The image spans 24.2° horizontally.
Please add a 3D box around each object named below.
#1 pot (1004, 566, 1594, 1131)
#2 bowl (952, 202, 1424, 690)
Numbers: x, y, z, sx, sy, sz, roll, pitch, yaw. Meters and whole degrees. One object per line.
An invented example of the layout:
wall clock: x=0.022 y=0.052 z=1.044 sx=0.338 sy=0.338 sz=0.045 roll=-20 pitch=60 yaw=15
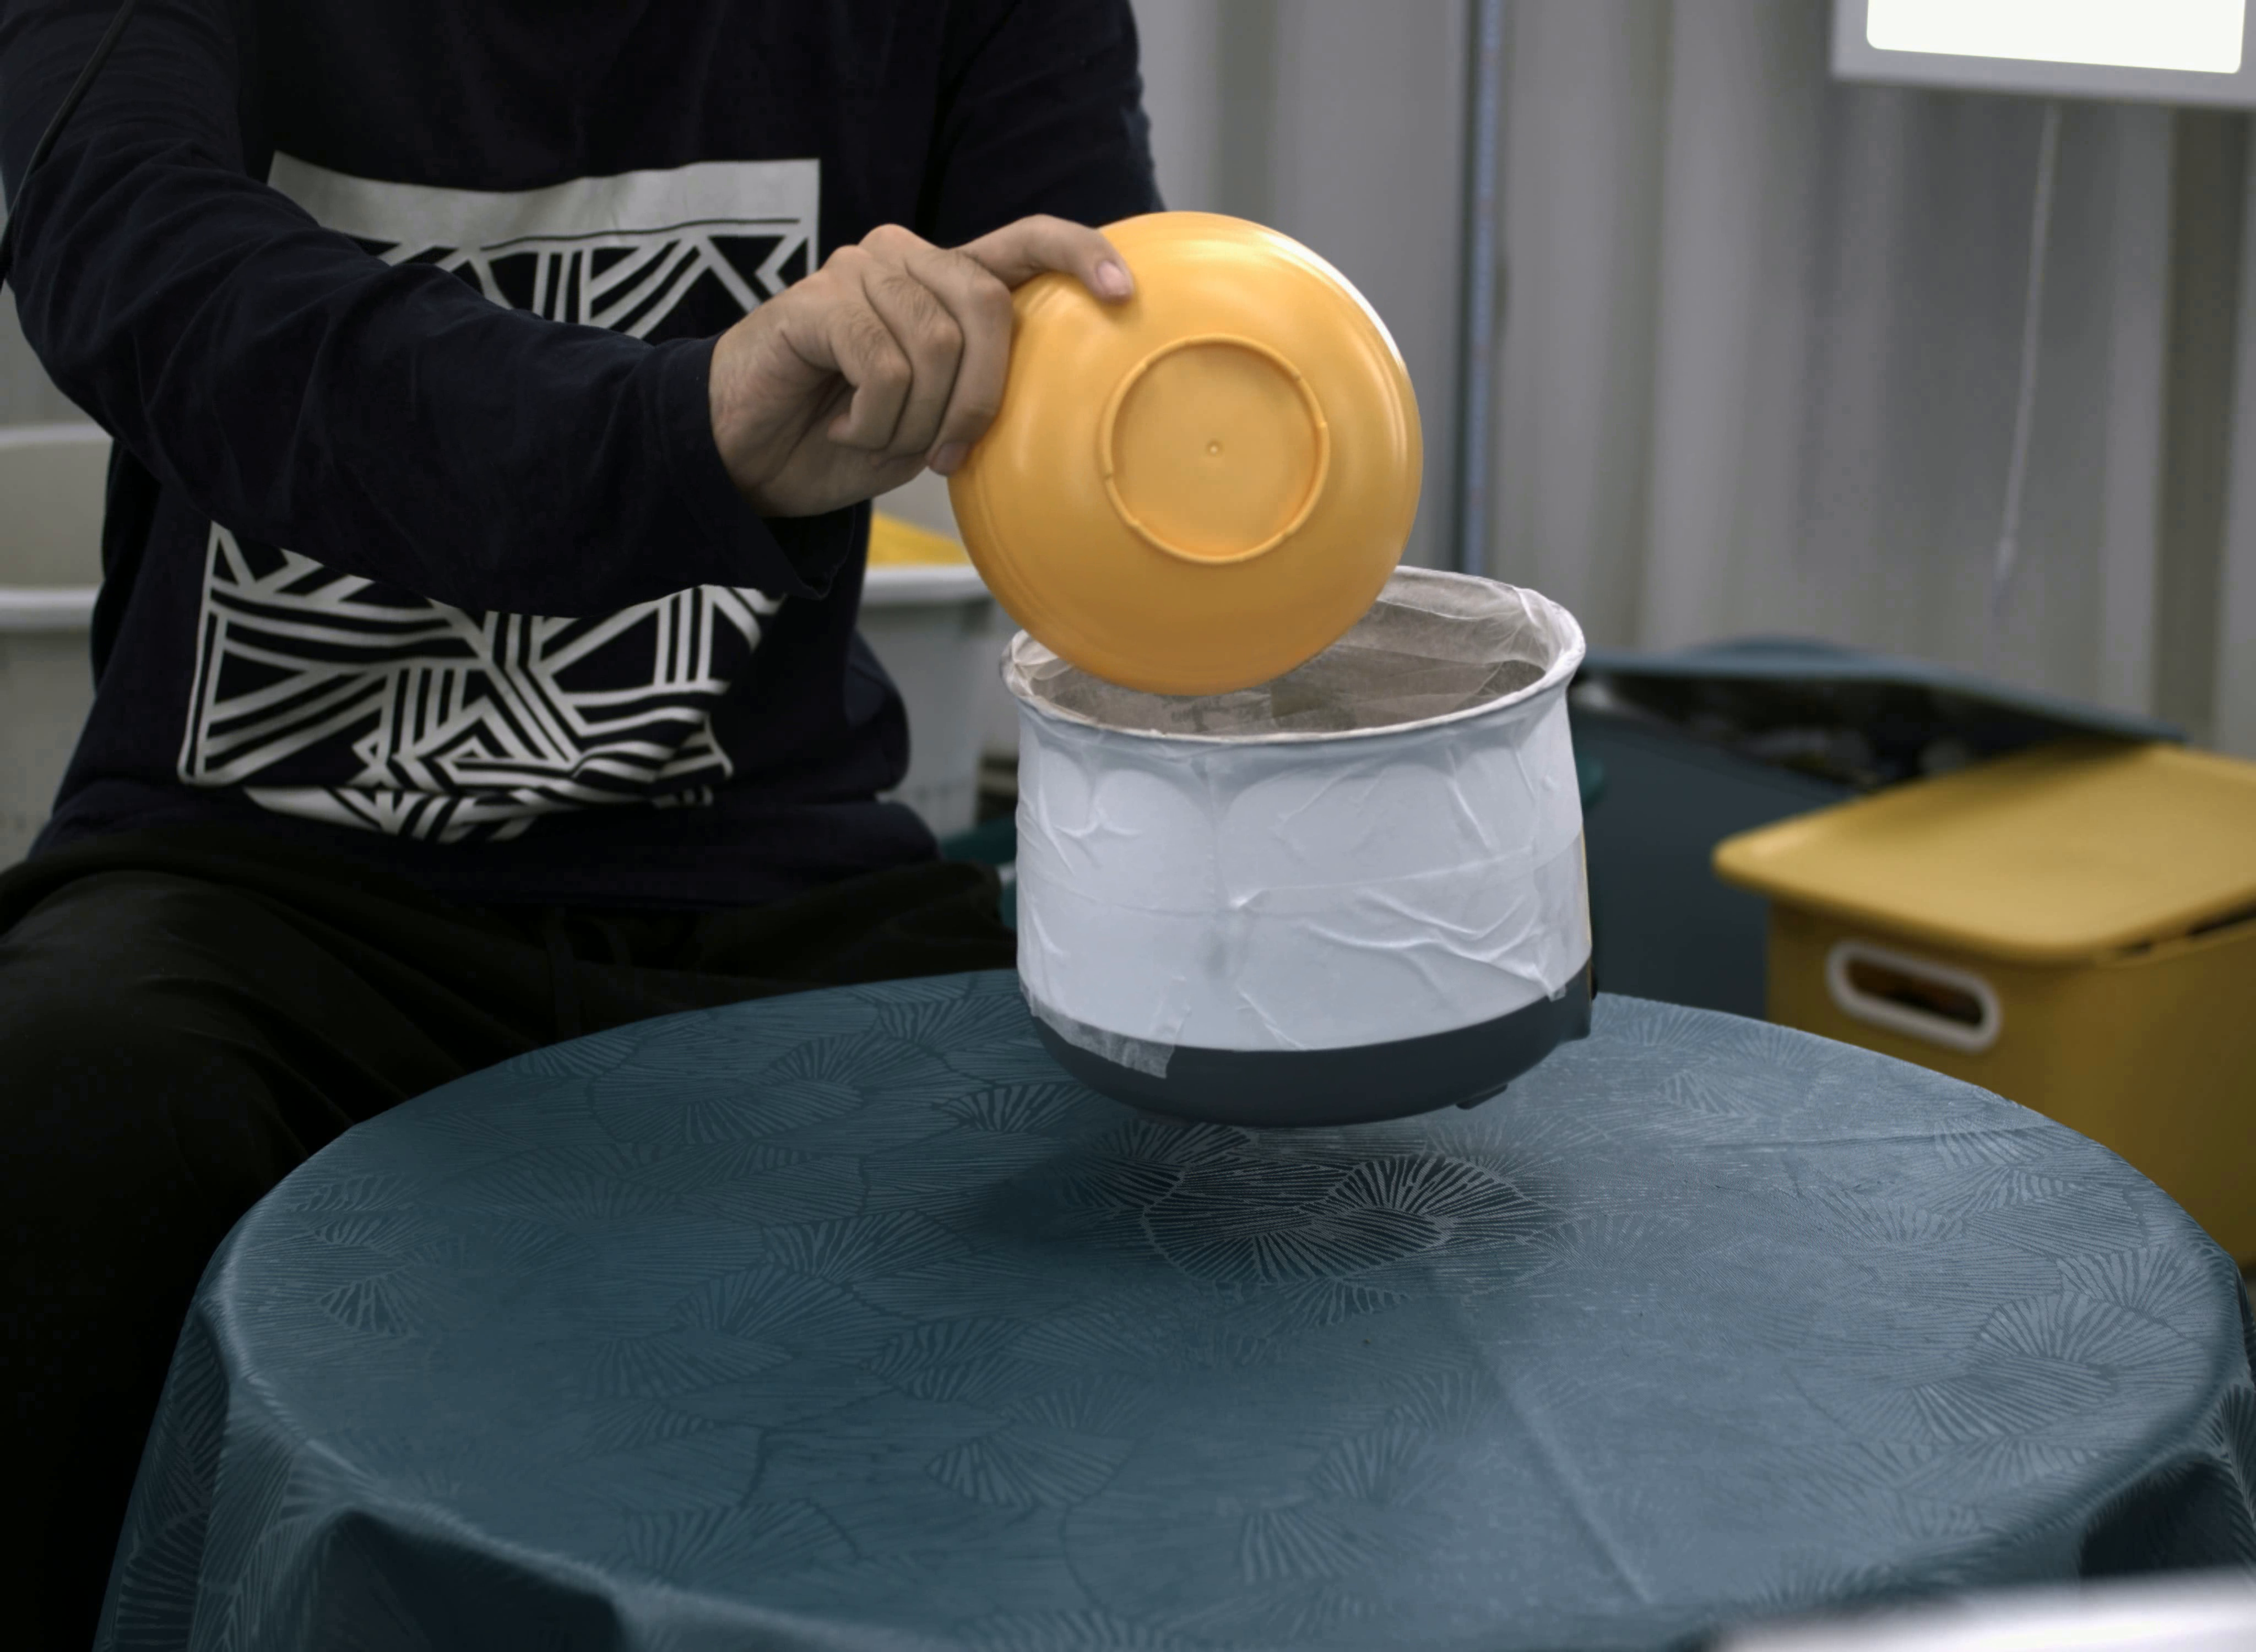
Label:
pot: x=0.049 y=-0.003 z=1.626 sx=0.178 sy=0.138 sz=0.232 roll=-2 pitch=20 yaw=-6
bowl: x=0.023 y=-0.112 z=1.539 sx=0.145 sy=0.146 sz=0.060 roll=-2 pitch=3 yaw=-11
